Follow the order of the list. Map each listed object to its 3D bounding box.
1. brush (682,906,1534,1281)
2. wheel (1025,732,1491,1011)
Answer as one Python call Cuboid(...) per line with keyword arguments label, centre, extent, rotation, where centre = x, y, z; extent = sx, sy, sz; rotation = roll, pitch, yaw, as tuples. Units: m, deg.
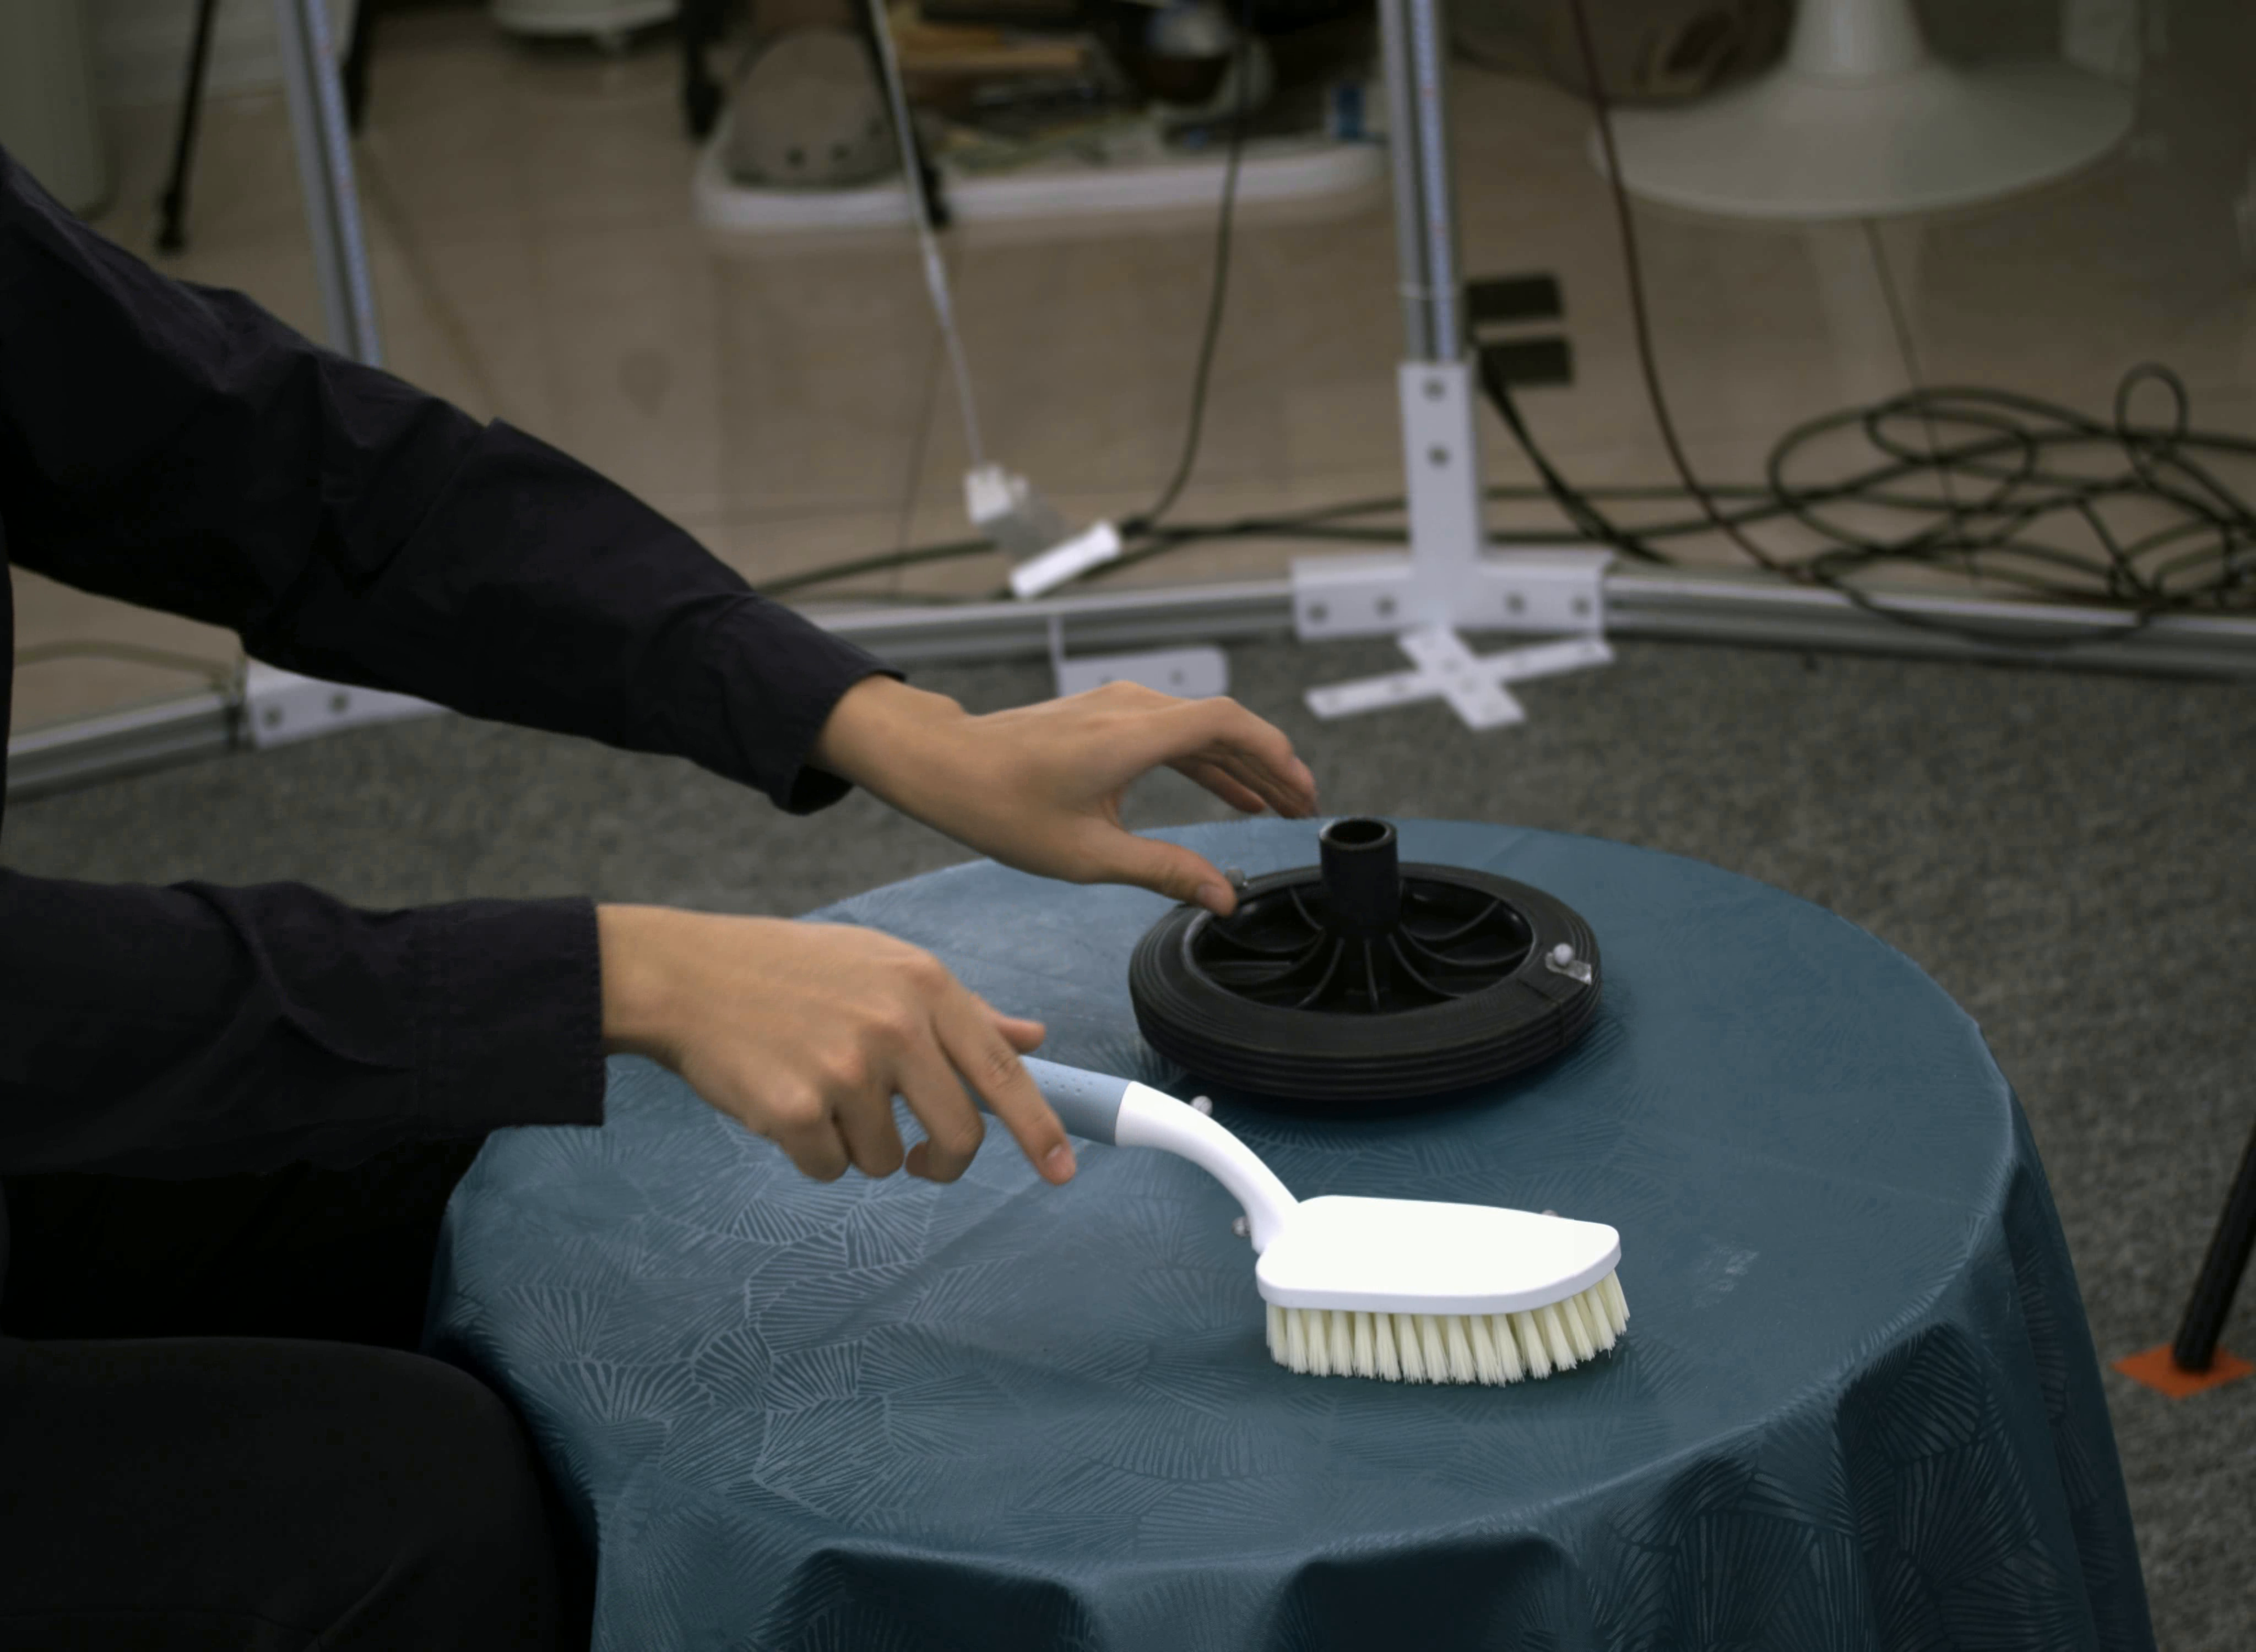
Cuboid(label="brush", centre=(-0.011, 0.107, 2.064), extent=(0.324, 0.084, 0.083), rotation=(14, -6, 12))
Cuboid(label="wheel", centre=(0.051, 0.005, 2.265), extent=(0.187, 0.080, 0.187), rotation=(0, 26, 6))
